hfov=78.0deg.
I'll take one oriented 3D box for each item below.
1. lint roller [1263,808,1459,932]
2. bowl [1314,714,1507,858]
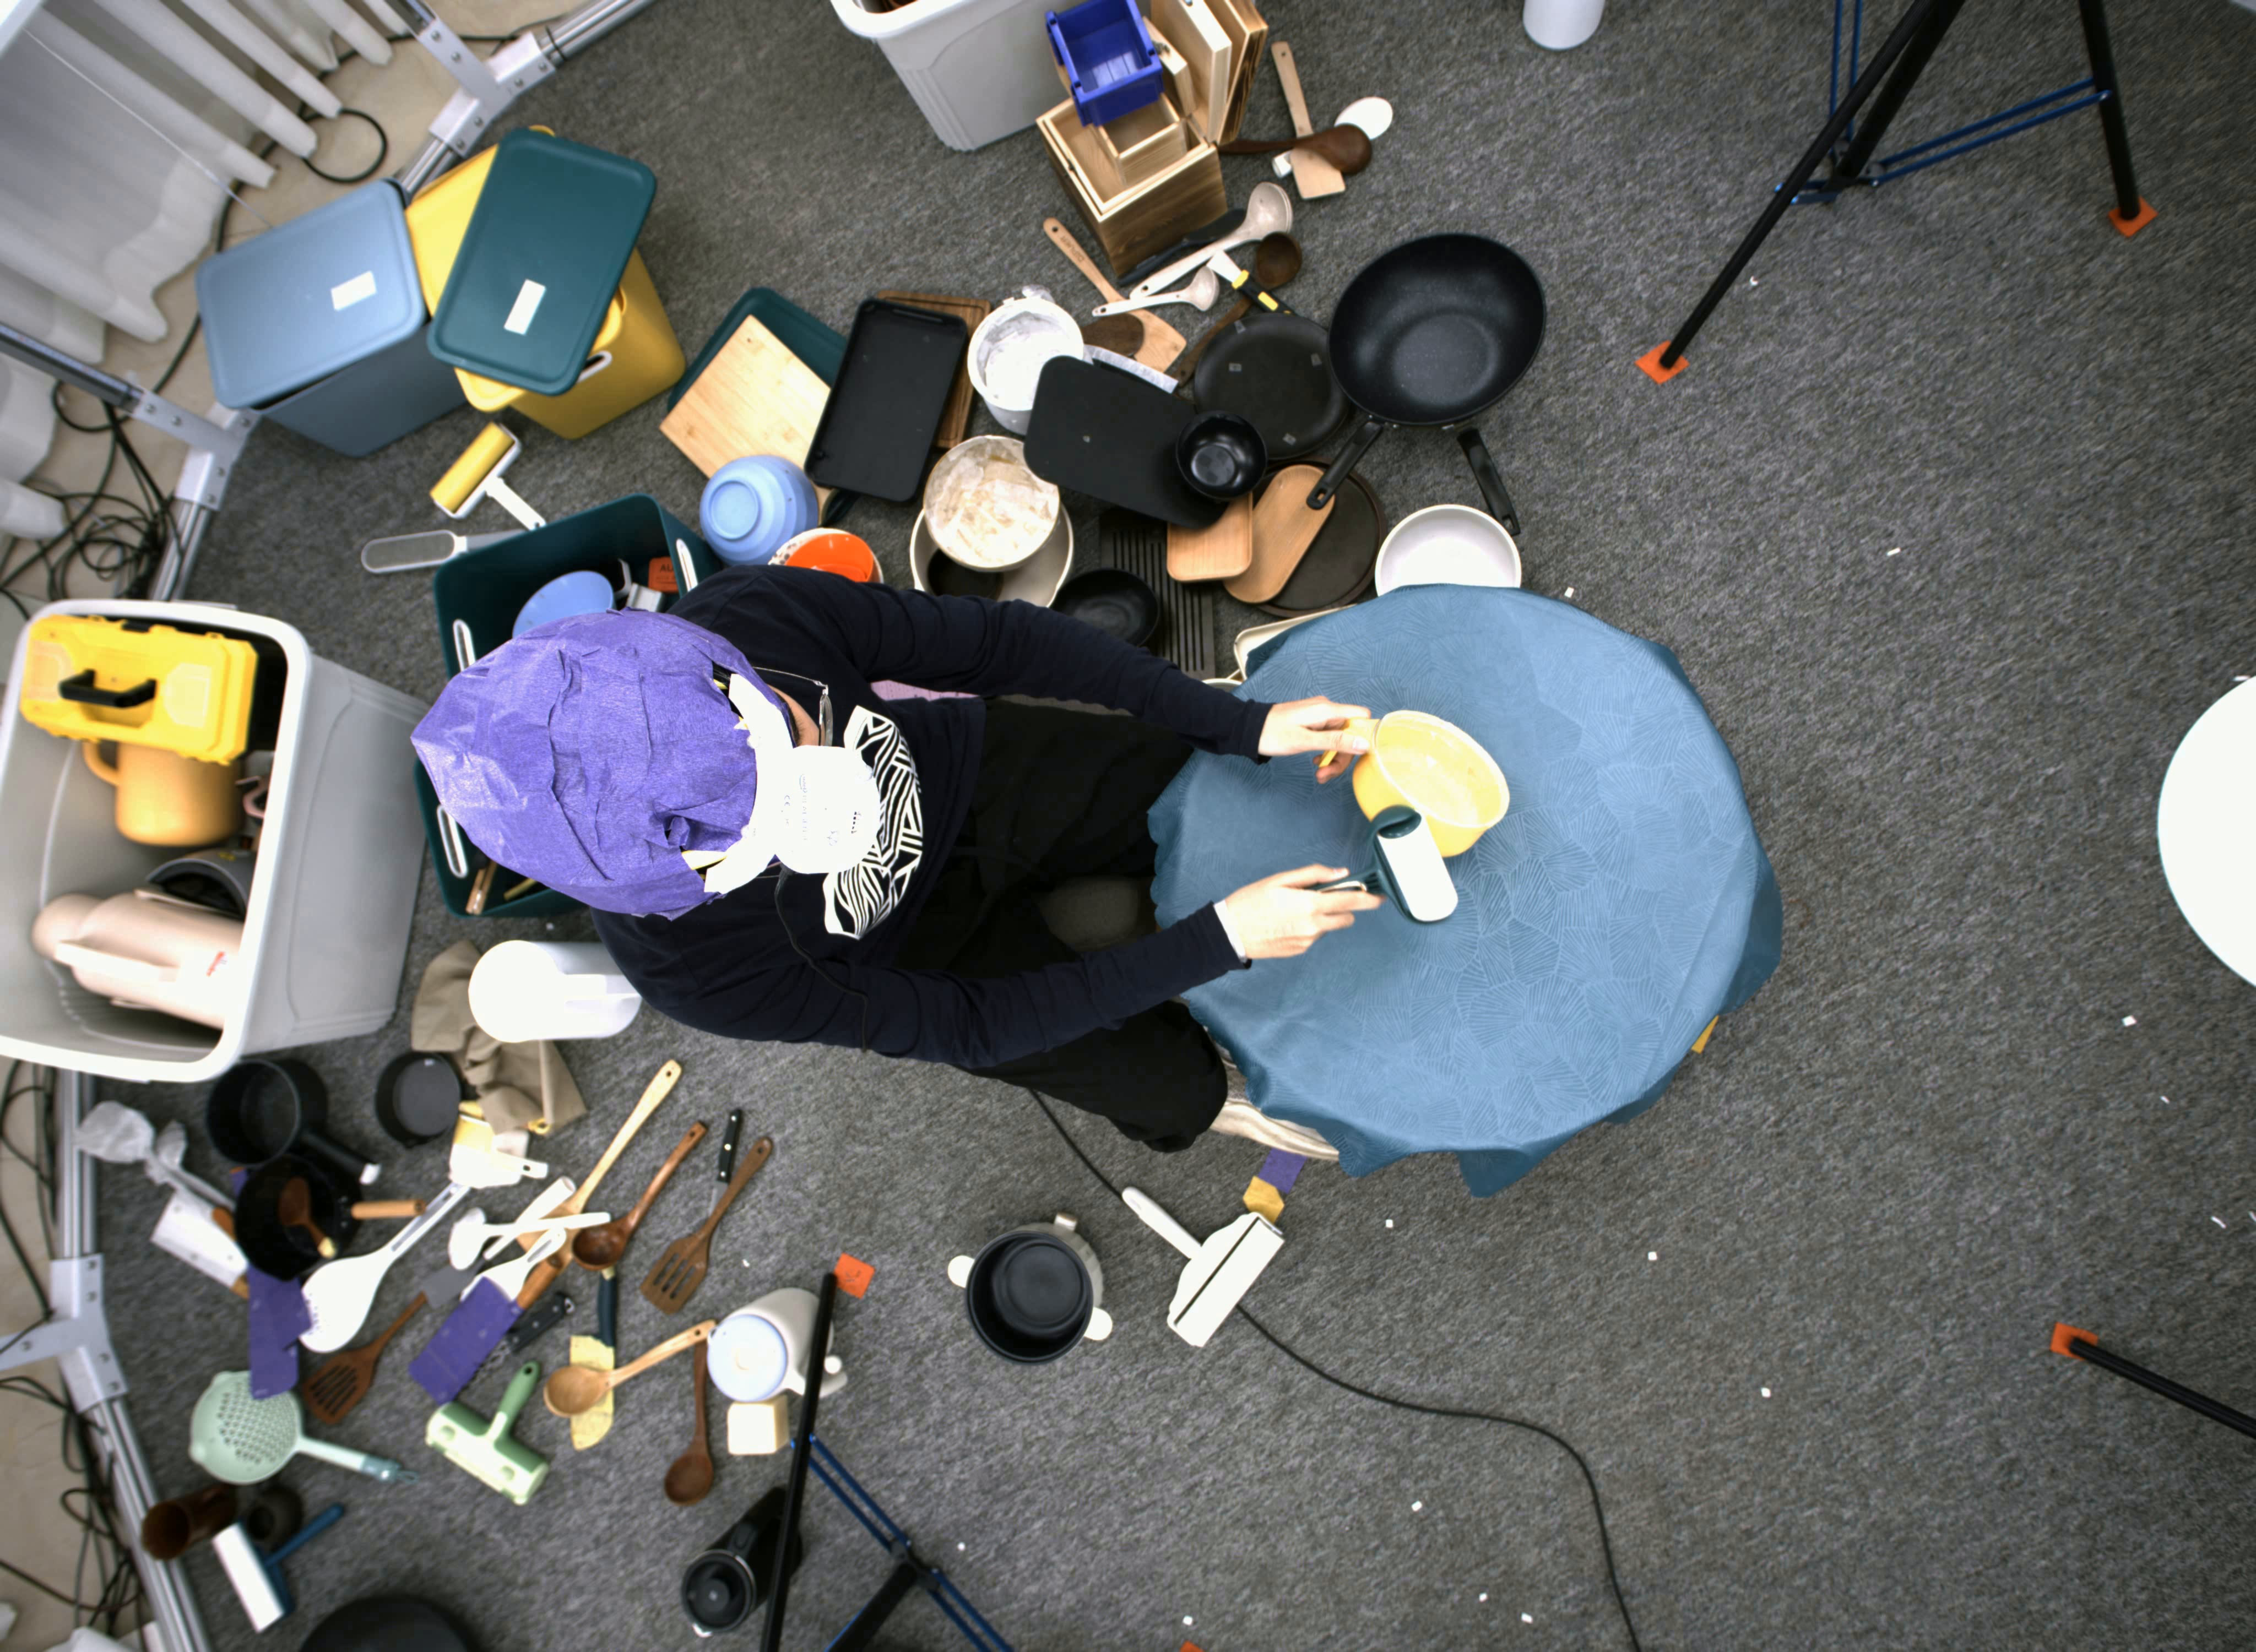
[{"bbox_3d":[0.214,0.064,1.317,0.181,0.047,0.136,-23,117,13],"label":"lint roller"},{"bbox_3d":[0.279,-0.044,1.364,0.179,0.149,0.076,23,136,-7],"label":"bowl"}]
